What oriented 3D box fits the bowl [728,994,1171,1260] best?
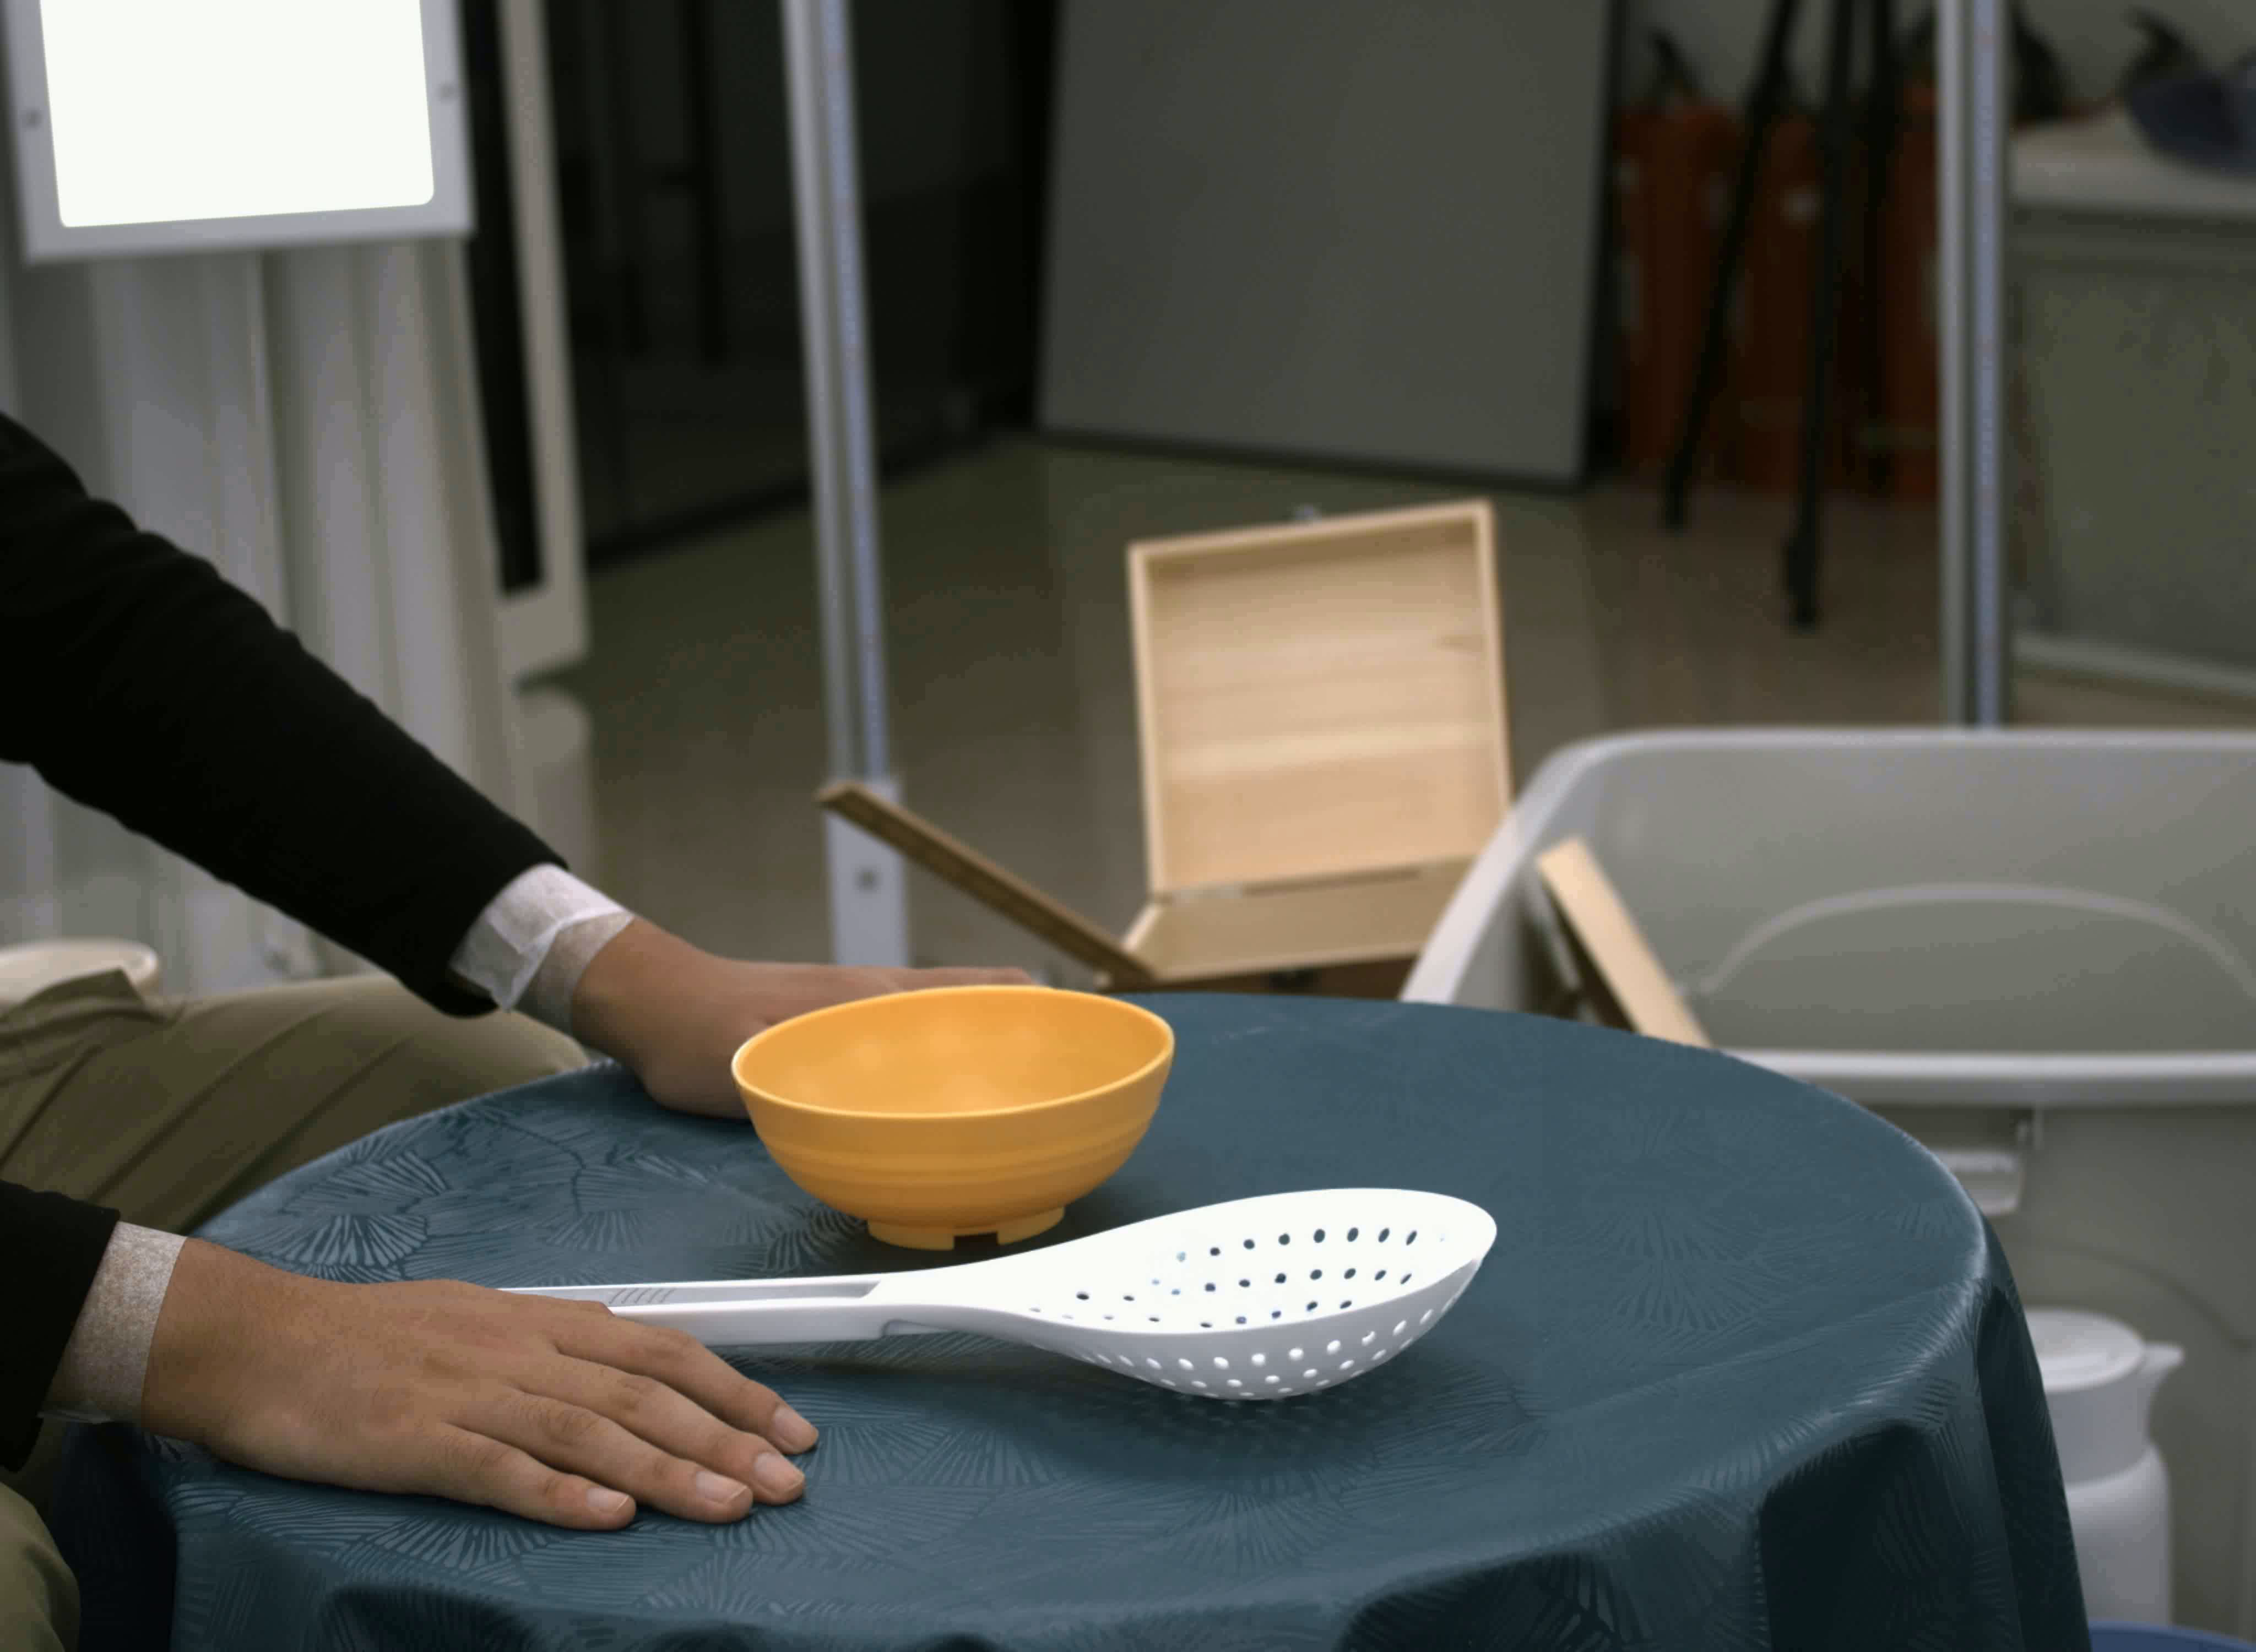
[{"bbox_3d":[-0.057,0.102,1.747,0.143,0.061,0.145,-2,13,0],"label":"bowl"}]

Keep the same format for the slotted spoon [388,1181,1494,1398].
[{"bbox_3d":[-0.060,0.142,1.607,0.349,0.046,0.135,-1,13,18],"label":"slotted spoon"}]
